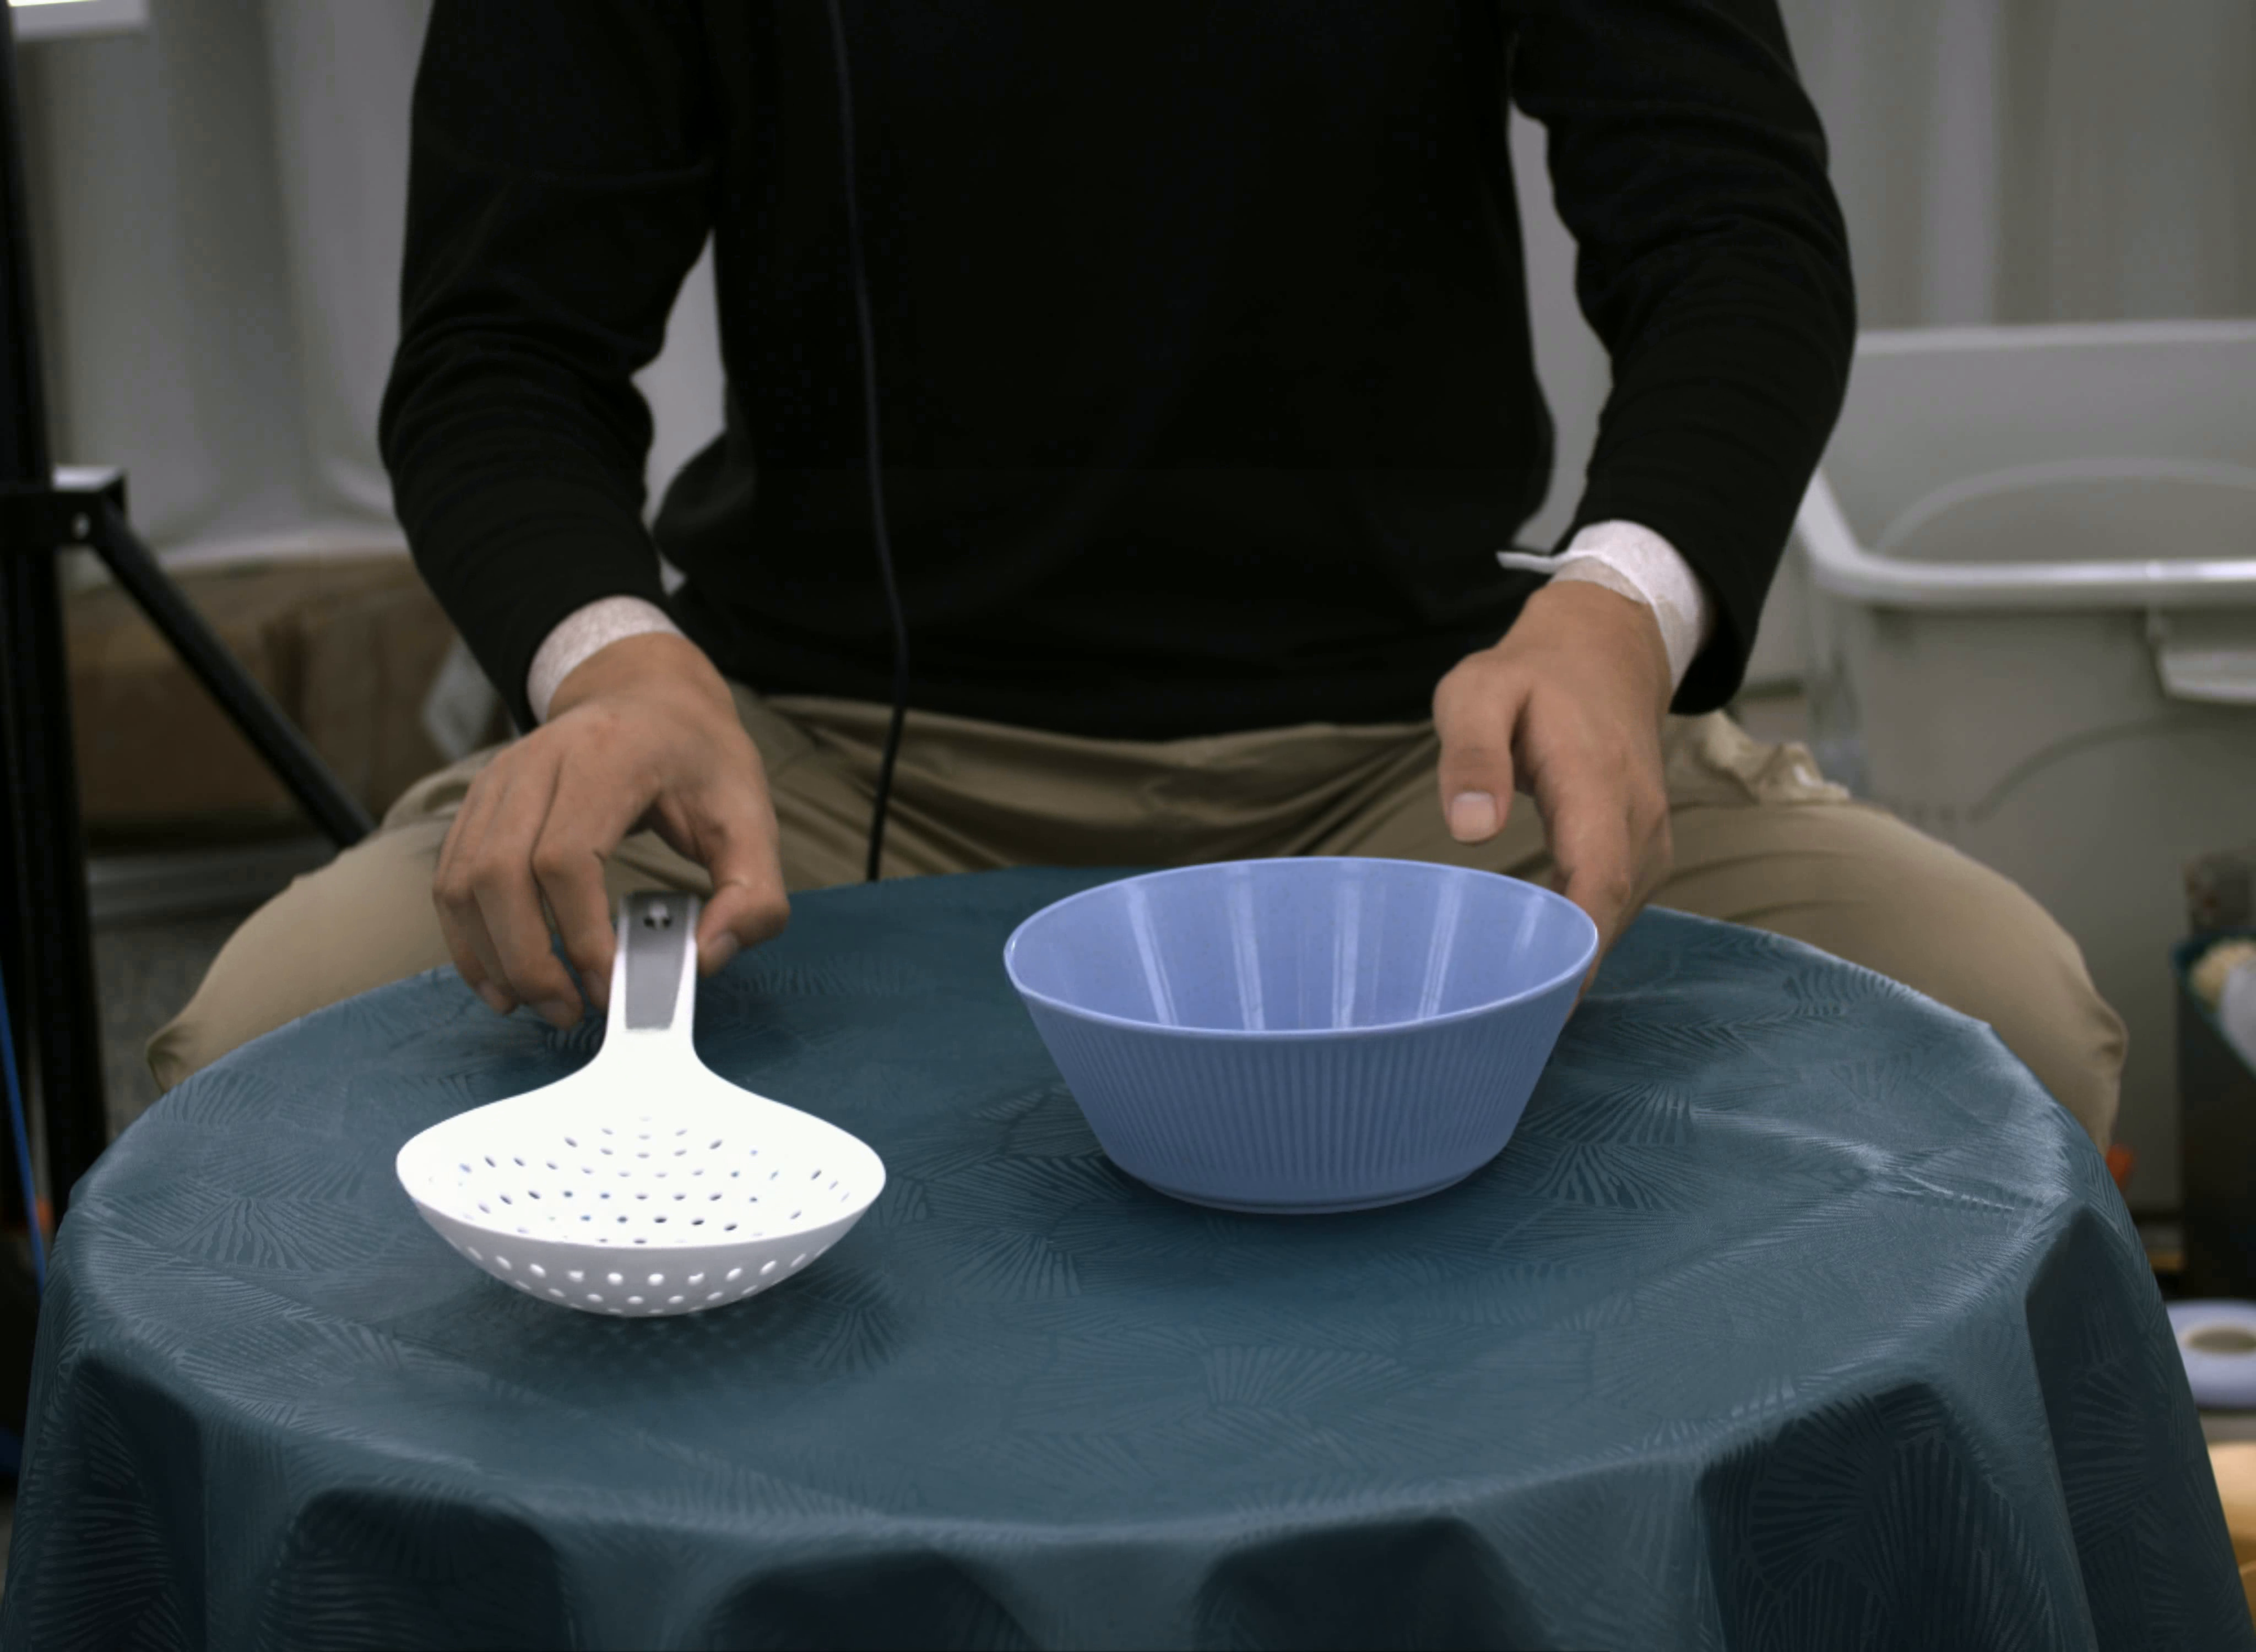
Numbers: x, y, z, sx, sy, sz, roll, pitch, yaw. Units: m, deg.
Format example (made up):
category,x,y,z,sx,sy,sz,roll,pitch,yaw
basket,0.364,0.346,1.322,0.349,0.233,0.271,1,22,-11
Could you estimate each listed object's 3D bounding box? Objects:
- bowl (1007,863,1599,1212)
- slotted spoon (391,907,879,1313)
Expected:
category,x,y,z,sx,sy,sz,roll,pitch,yaw
bowl,0.052,0.065,1.574,0.175,0.070,0.177,-3,14,-1
slotted spoon,-0.143,0.075,1.586,0.135,0.046,0.352,0,18,-3
